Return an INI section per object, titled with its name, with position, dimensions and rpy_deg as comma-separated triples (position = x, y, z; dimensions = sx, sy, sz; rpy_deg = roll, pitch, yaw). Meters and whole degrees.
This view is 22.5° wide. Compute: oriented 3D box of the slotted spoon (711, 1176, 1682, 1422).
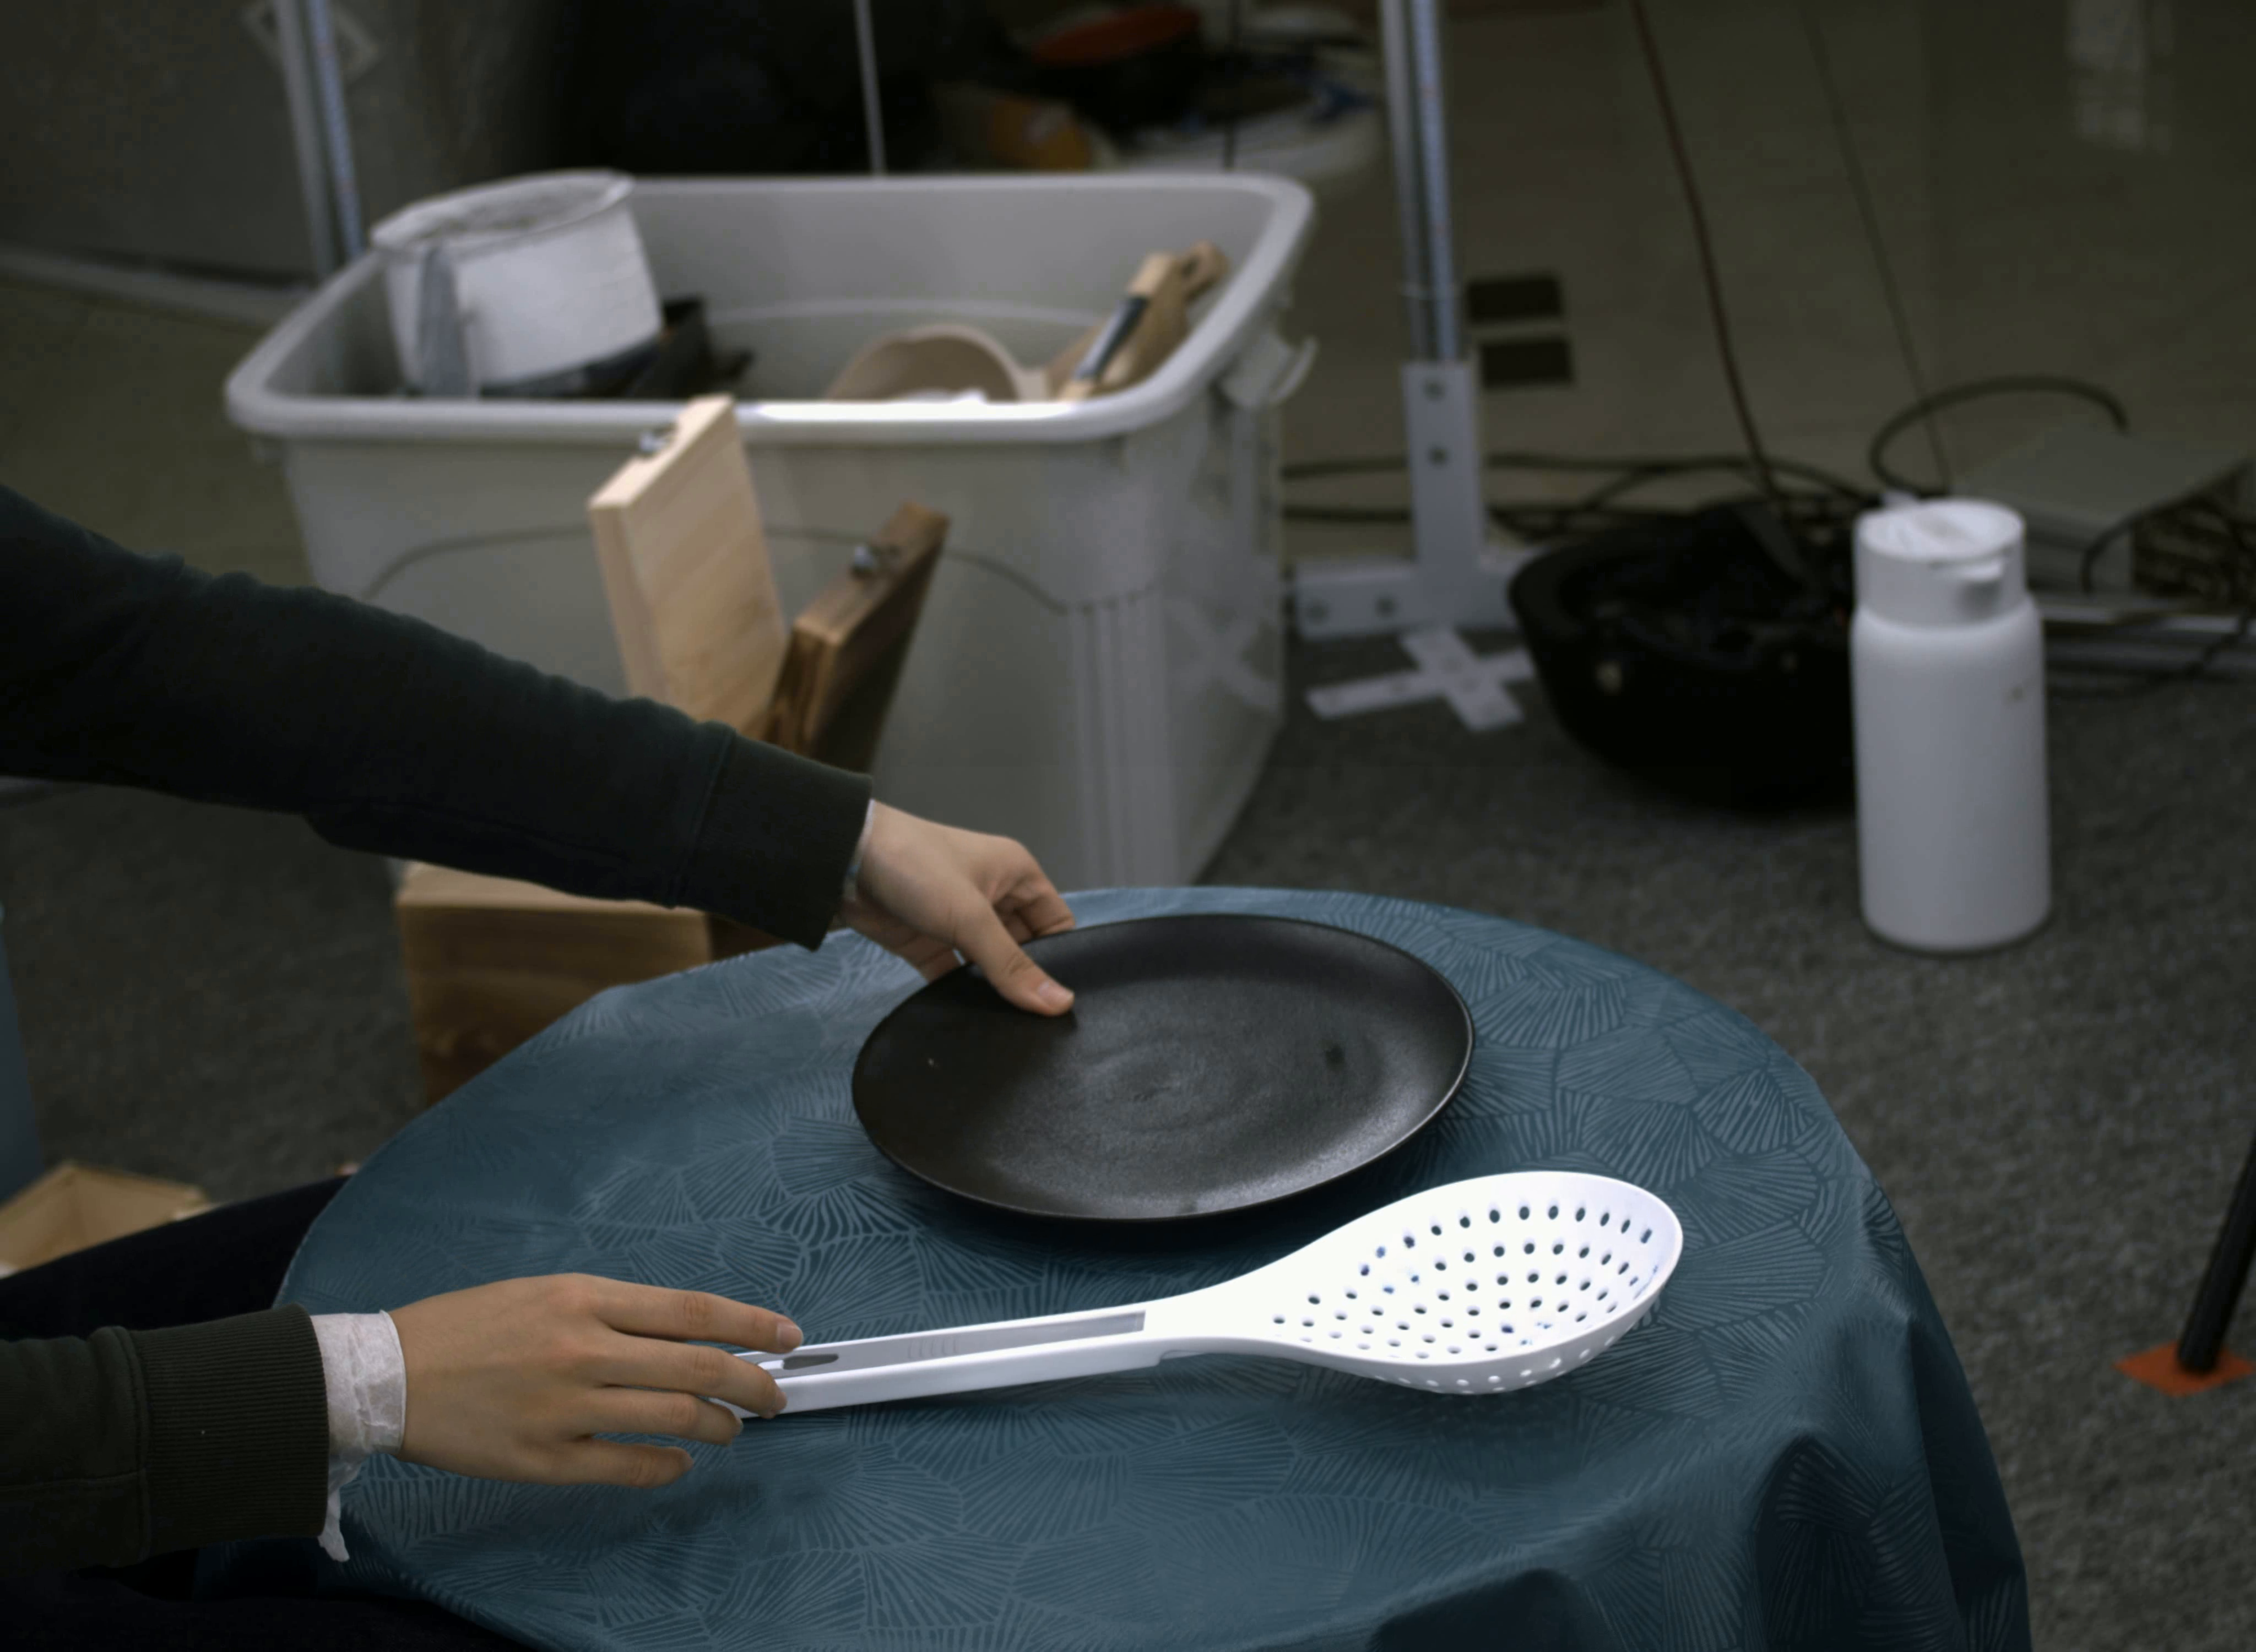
[slotted spoon]
position = 0.023, 0.177, 2.011
dimensions = 0.349, 0.046, 0.134
rpy_deg = -4, 23, 7

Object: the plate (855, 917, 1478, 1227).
[plate]
position = 0.015, 0.100, 2.199
dimensions = 0.244, 0.024, 0.240
rpy_deg = -5, 26, 2
